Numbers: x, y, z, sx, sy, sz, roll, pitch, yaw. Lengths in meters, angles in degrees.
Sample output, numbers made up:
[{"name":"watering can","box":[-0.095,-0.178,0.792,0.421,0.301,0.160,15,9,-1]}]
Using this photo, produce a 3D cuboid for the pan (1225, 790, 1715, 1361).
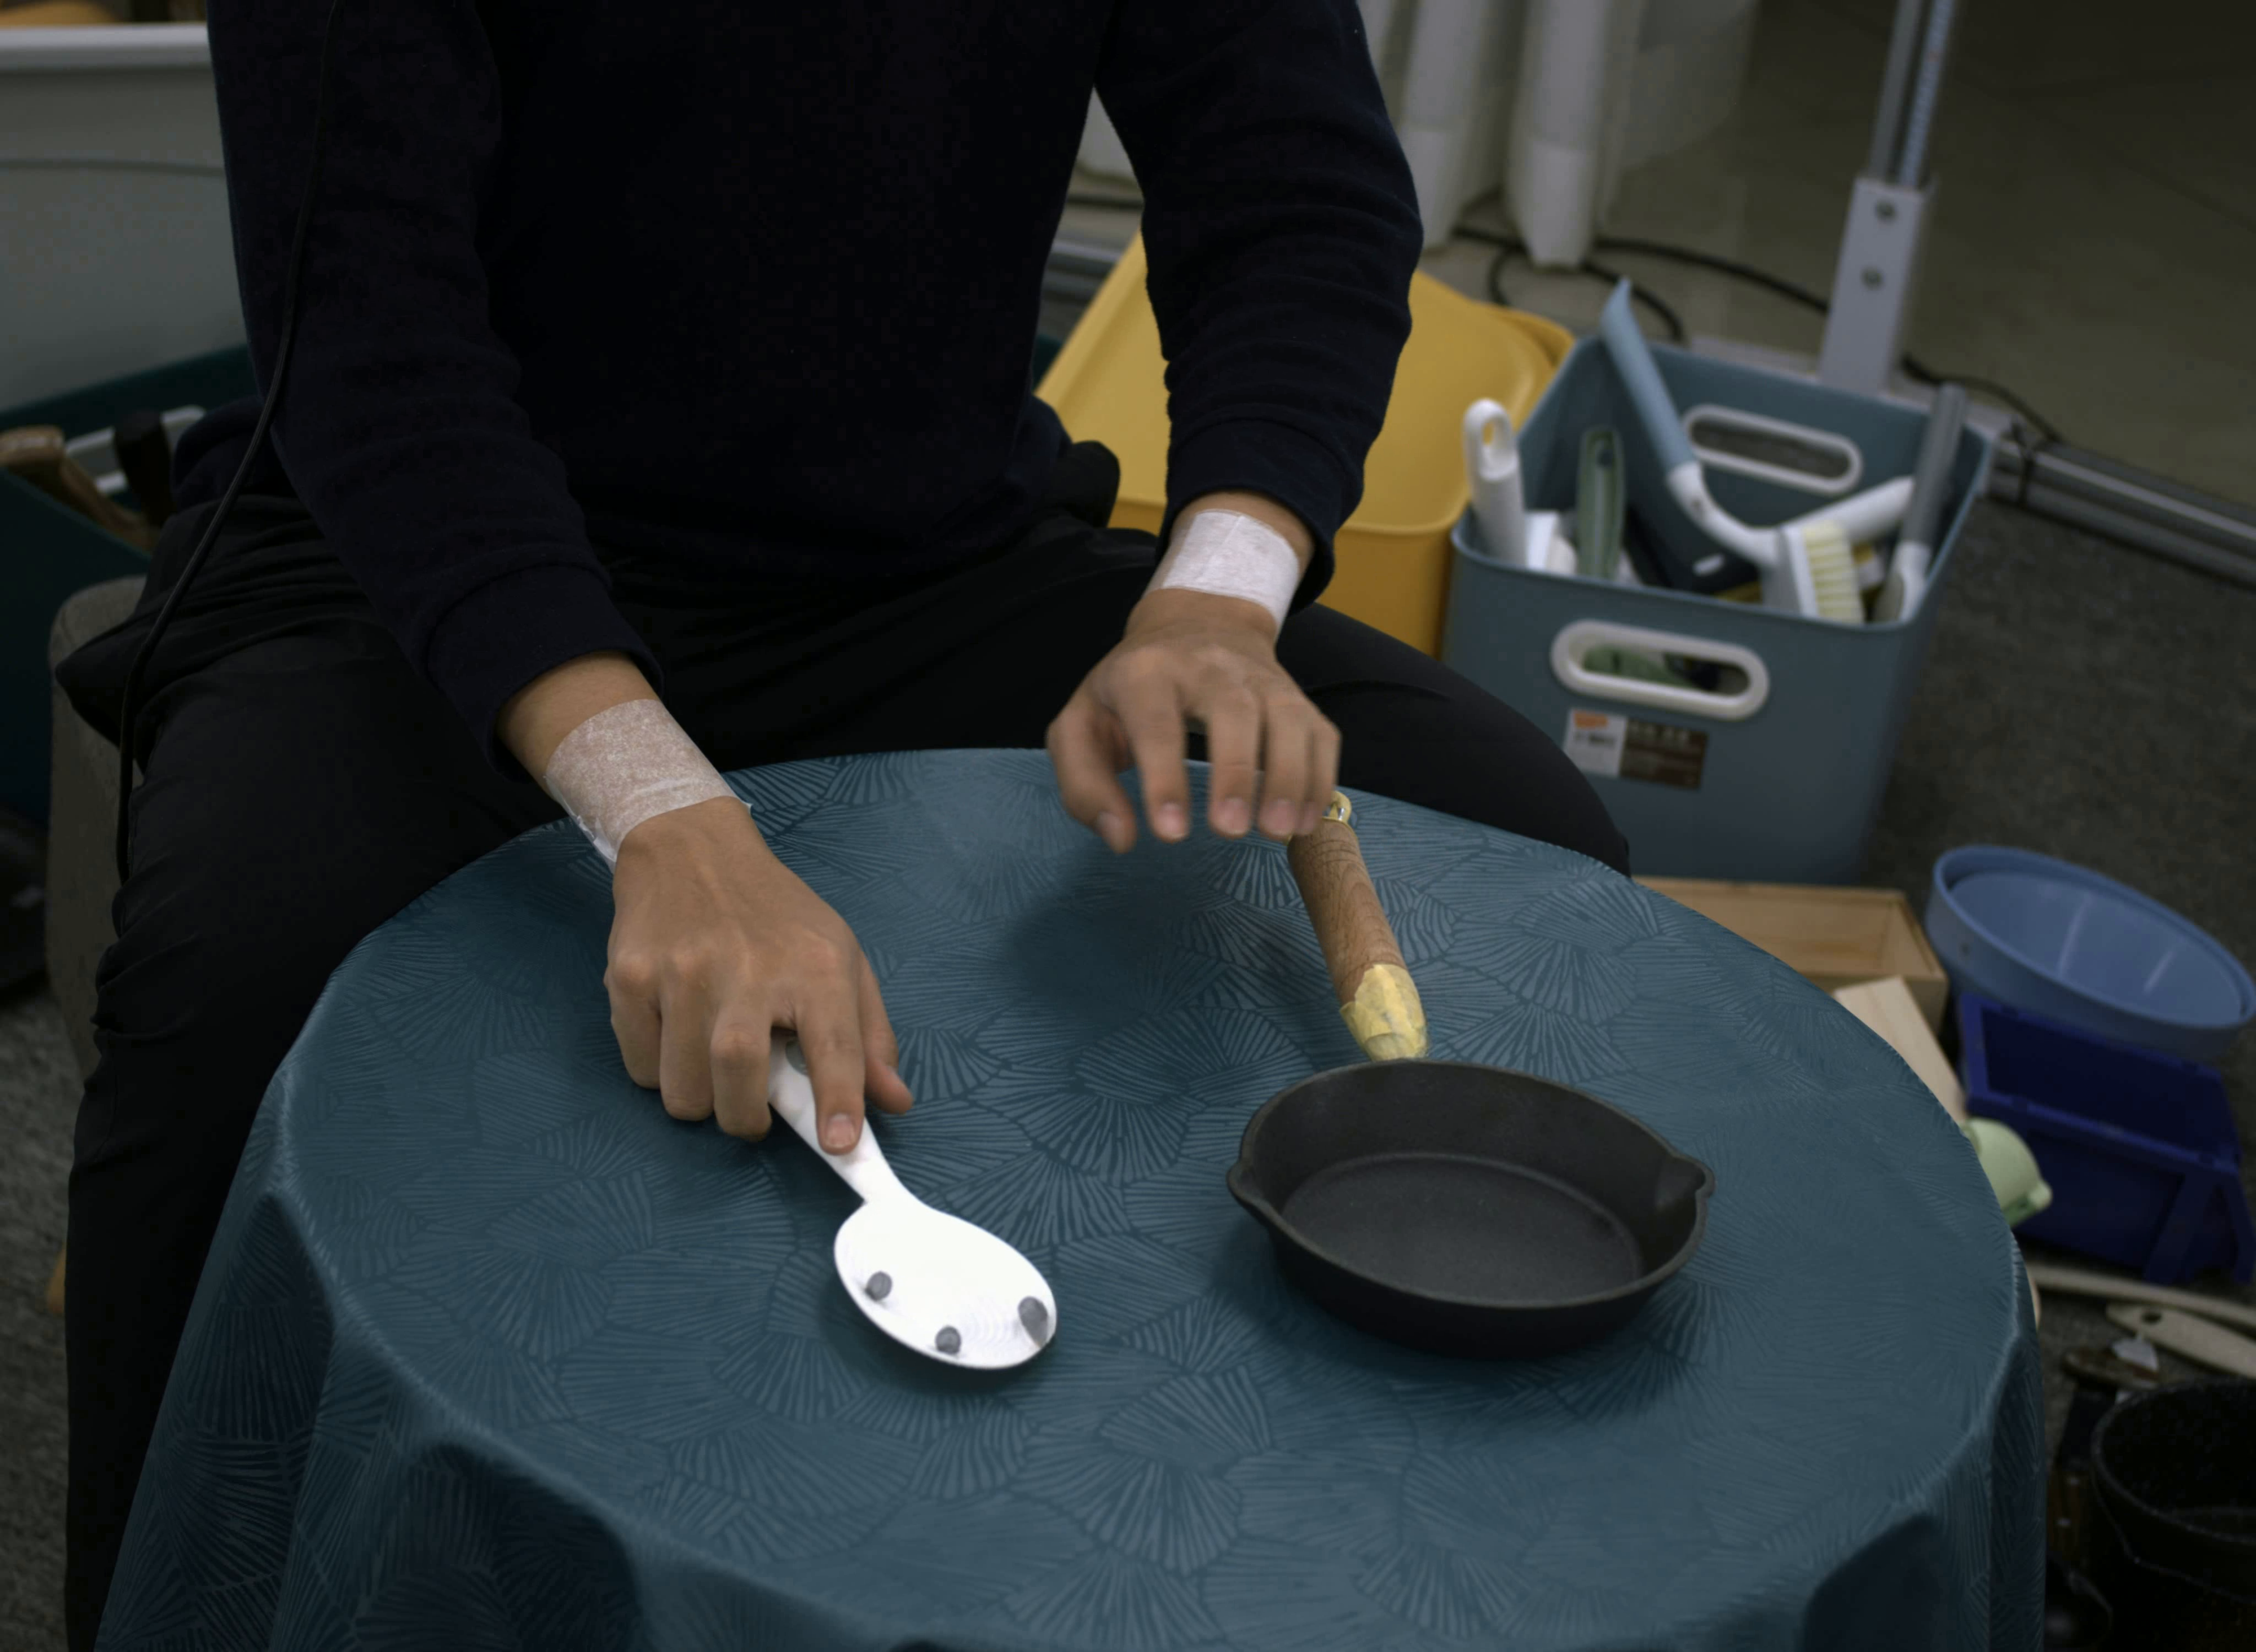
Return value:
[{"name":"pan","box":[0.099,0.084,1.848,0.168,0.049,0.327,1,29,-12]}]

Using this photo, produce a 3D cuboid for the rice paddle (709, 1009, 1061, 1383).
[{"name":"rice paddle","box":[-0.083,0.124,1.759,0.068,0.029,0.207,9,24,-35]}]
